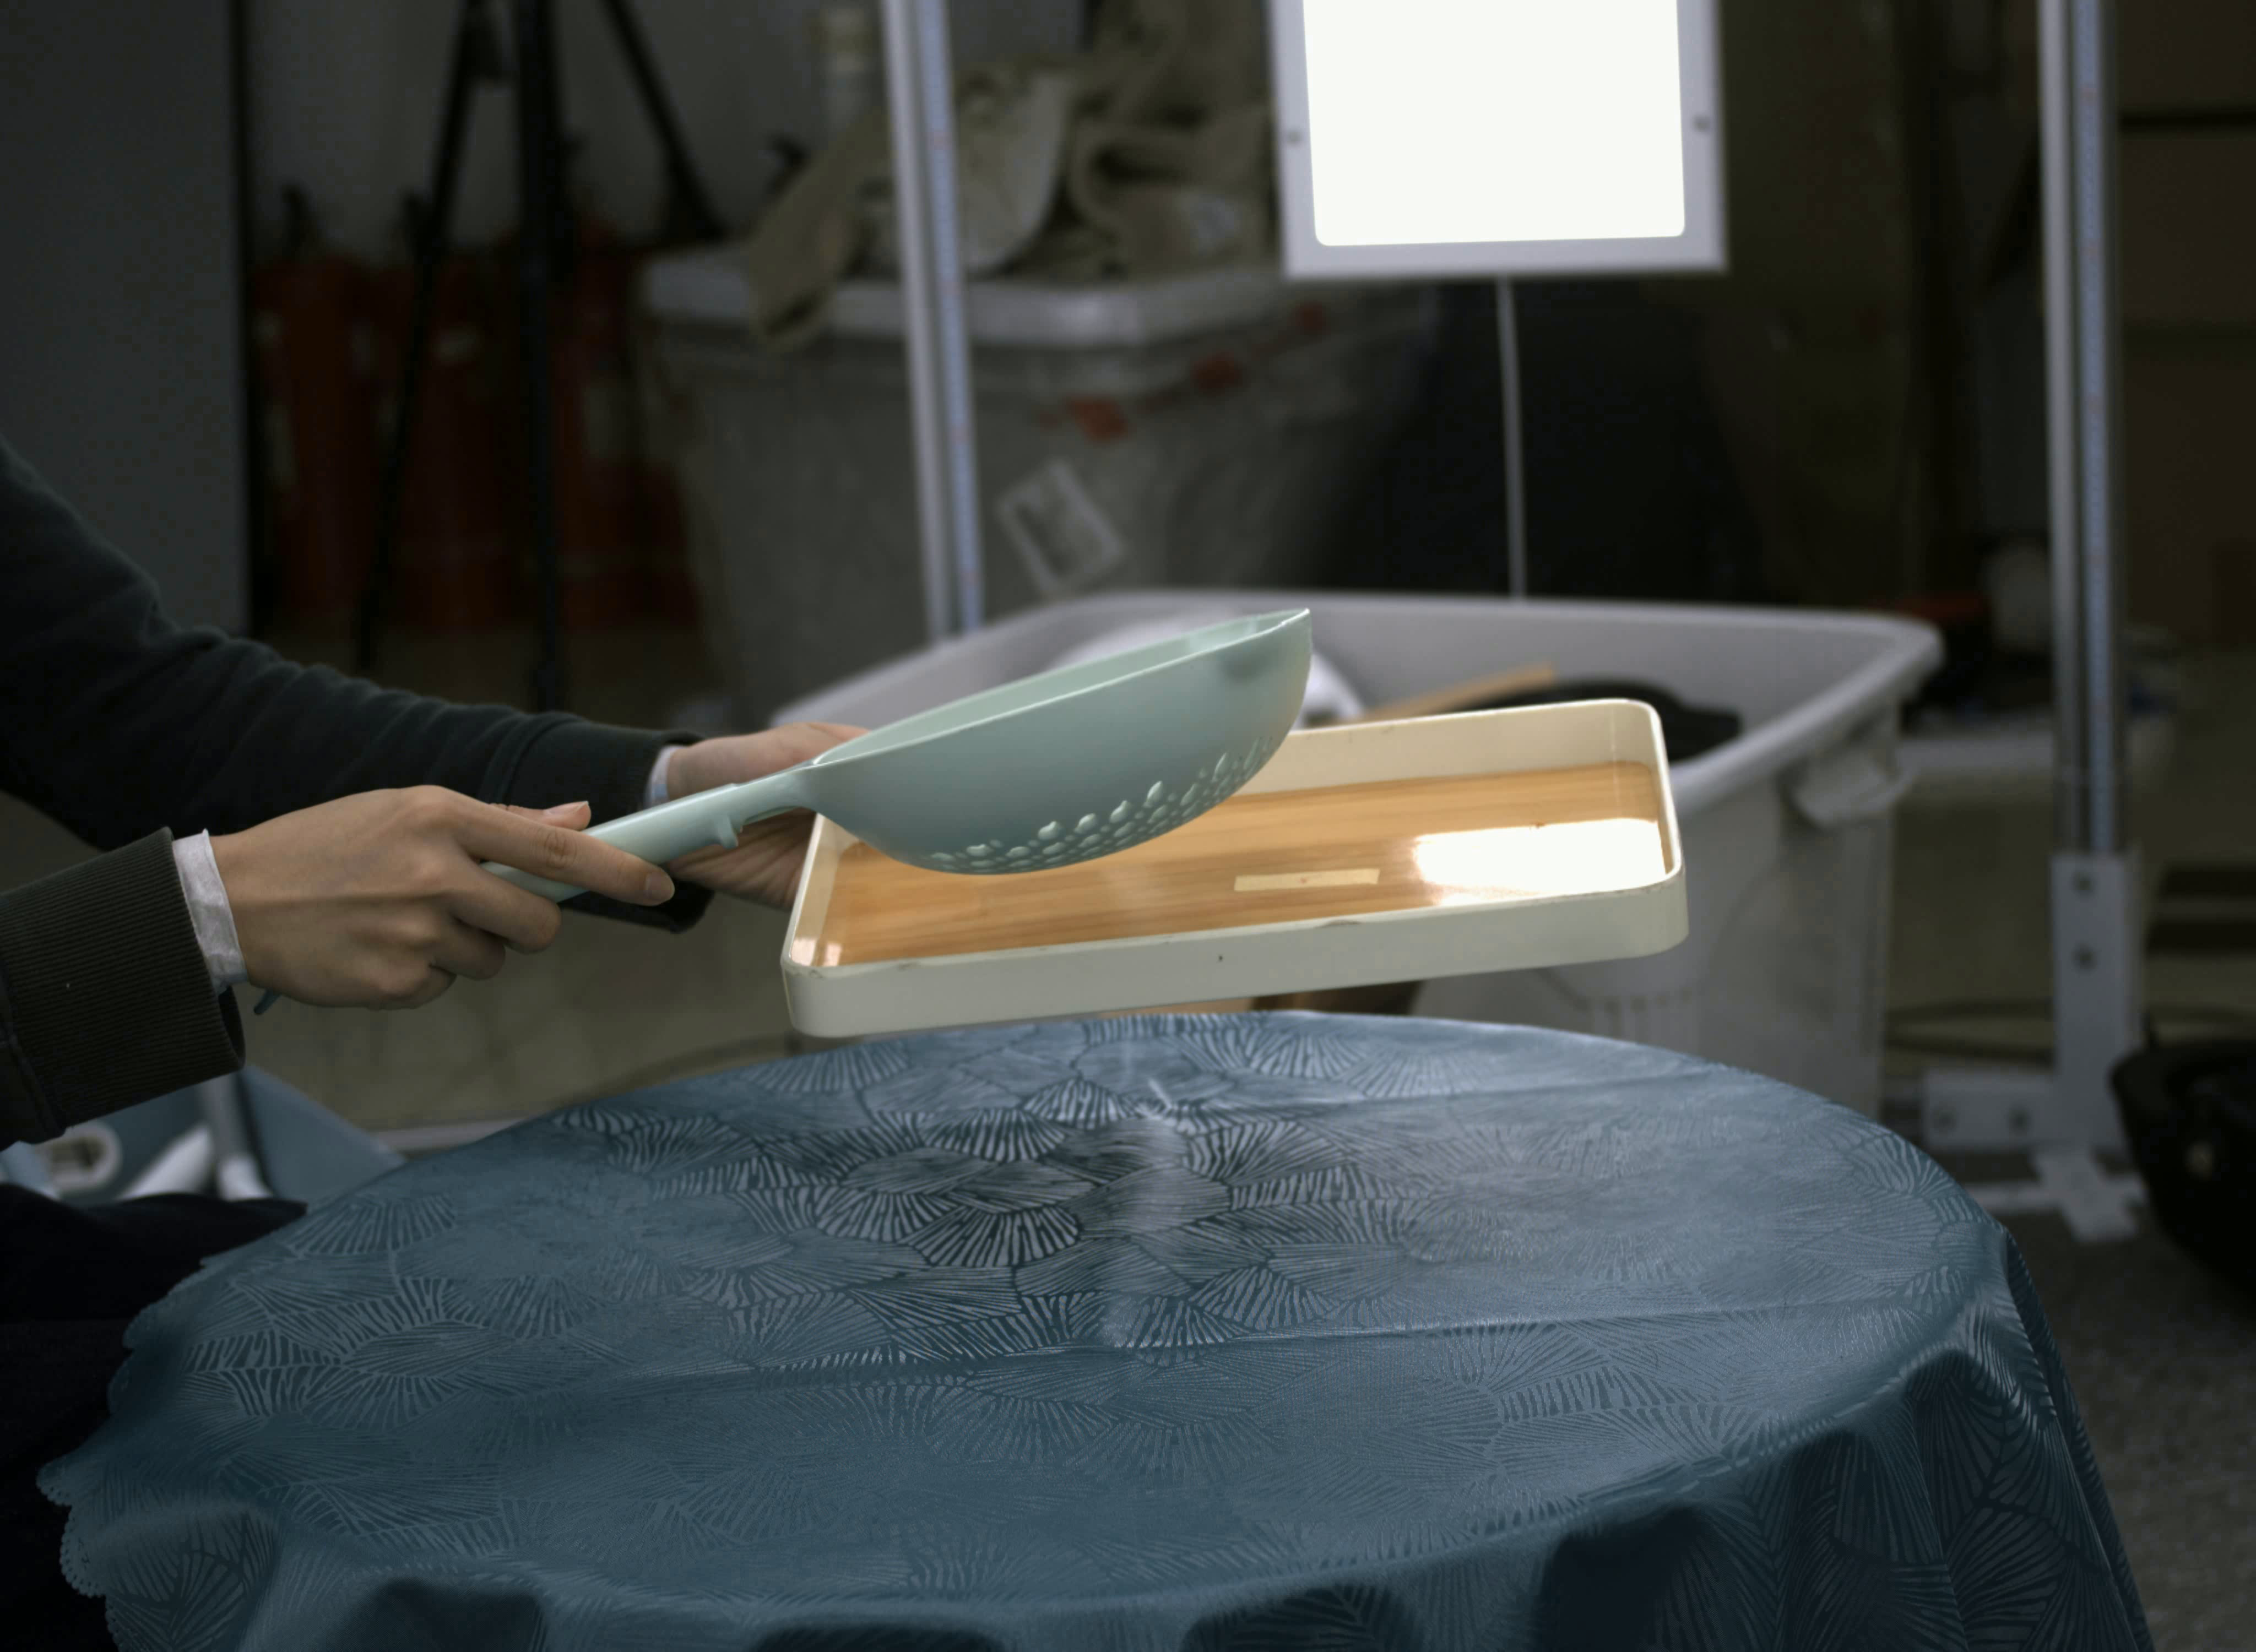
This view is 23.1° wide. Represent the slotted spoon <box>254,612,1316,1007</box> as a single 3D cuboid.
[{"bbox_3d":[-0.111,-0.006,1.783,0.357,0.075,0.169,-9,2,-1],"label":"slotted spoon"}]

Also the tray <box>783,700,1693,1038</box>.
[{"bbox_3d":[0.038,0.013,1.872,0.301,0.027,0.190,-6,20,6],"label":"tray"}]
